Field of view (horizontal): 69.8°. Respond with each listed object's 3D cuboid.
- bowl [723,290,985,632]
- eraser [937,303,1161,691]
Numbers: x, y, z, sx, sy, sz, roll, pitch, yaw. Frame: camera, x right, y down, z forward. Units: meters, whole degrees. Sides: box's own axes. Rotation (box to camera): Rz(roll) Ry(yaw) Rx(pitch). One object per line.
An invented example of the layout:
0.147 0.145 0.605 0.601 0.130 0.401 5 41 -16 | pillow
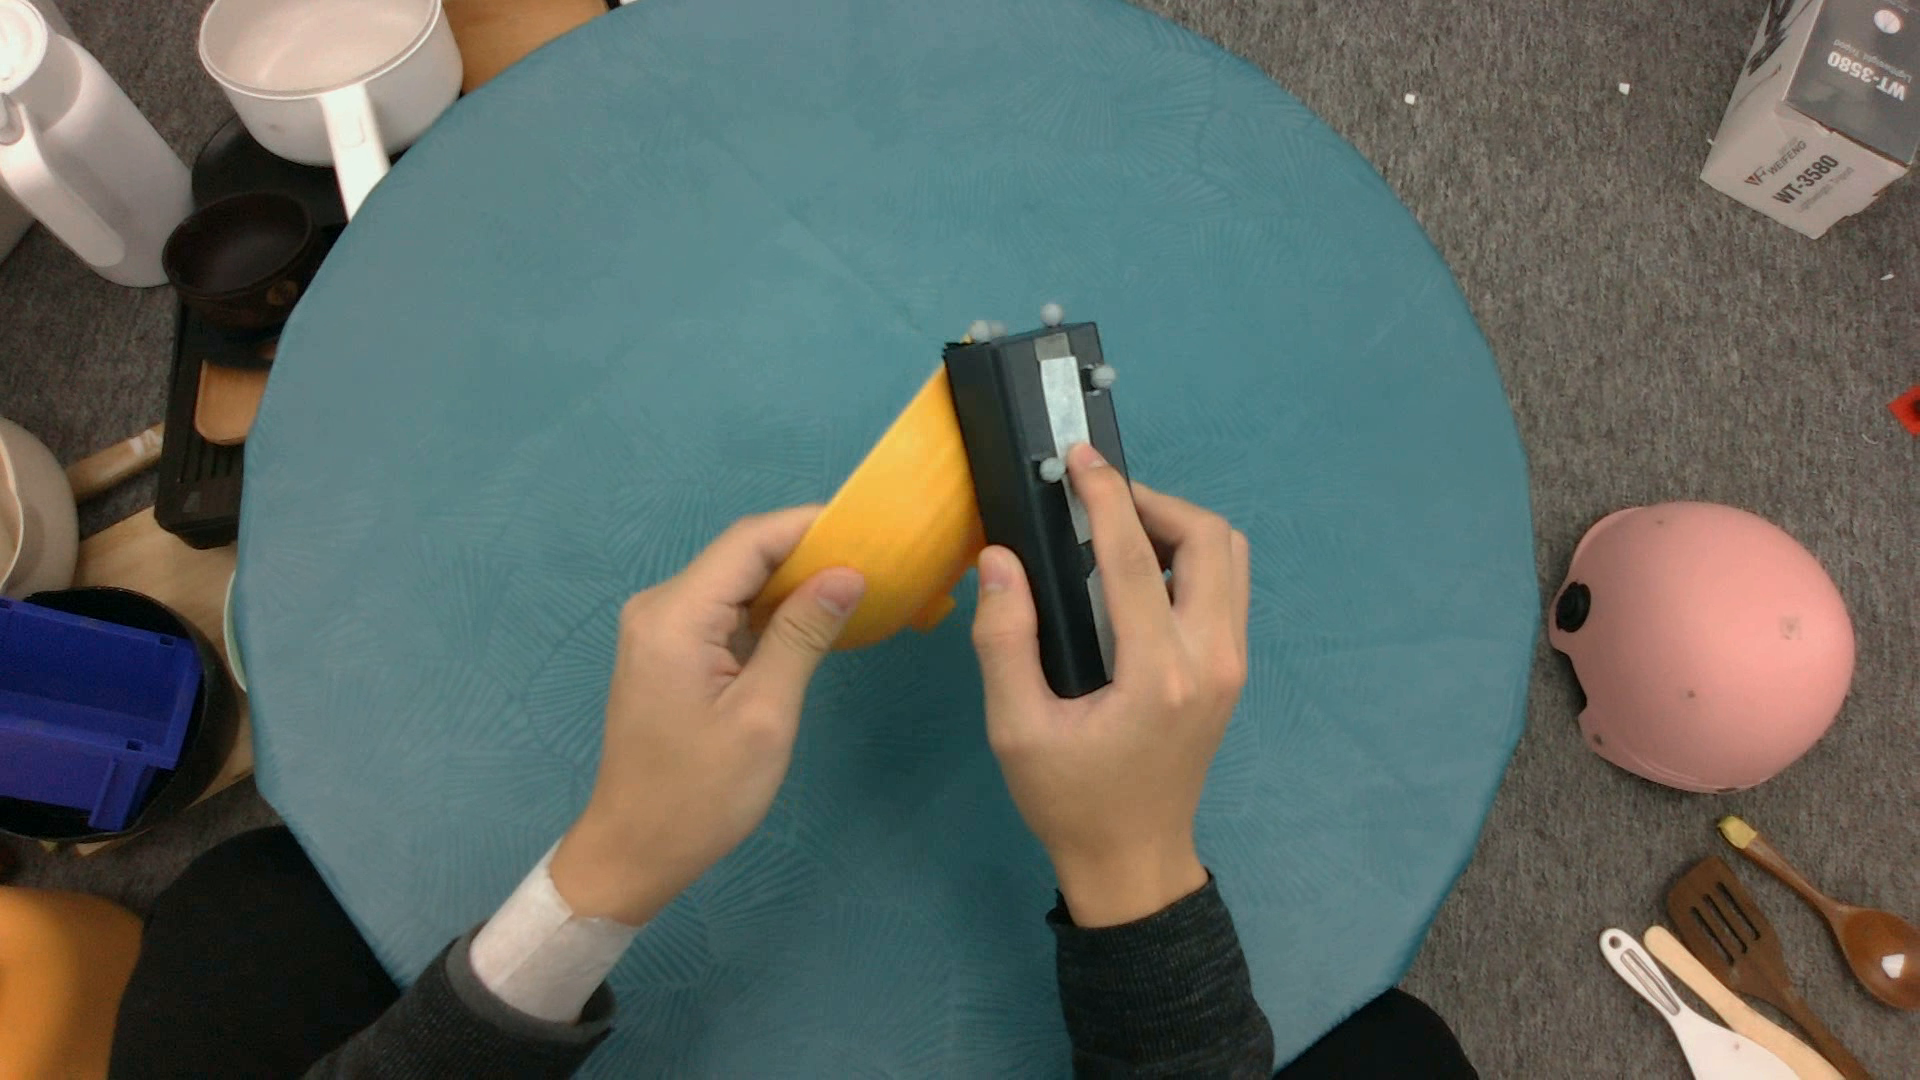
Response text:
-0.025 -0.018 0.517 0.060 0.145 0.146 34 72 -5 | bowl
0.032 -0.015 0.477 0.054 0.030 0.125 -20 100 -35 | eraser
